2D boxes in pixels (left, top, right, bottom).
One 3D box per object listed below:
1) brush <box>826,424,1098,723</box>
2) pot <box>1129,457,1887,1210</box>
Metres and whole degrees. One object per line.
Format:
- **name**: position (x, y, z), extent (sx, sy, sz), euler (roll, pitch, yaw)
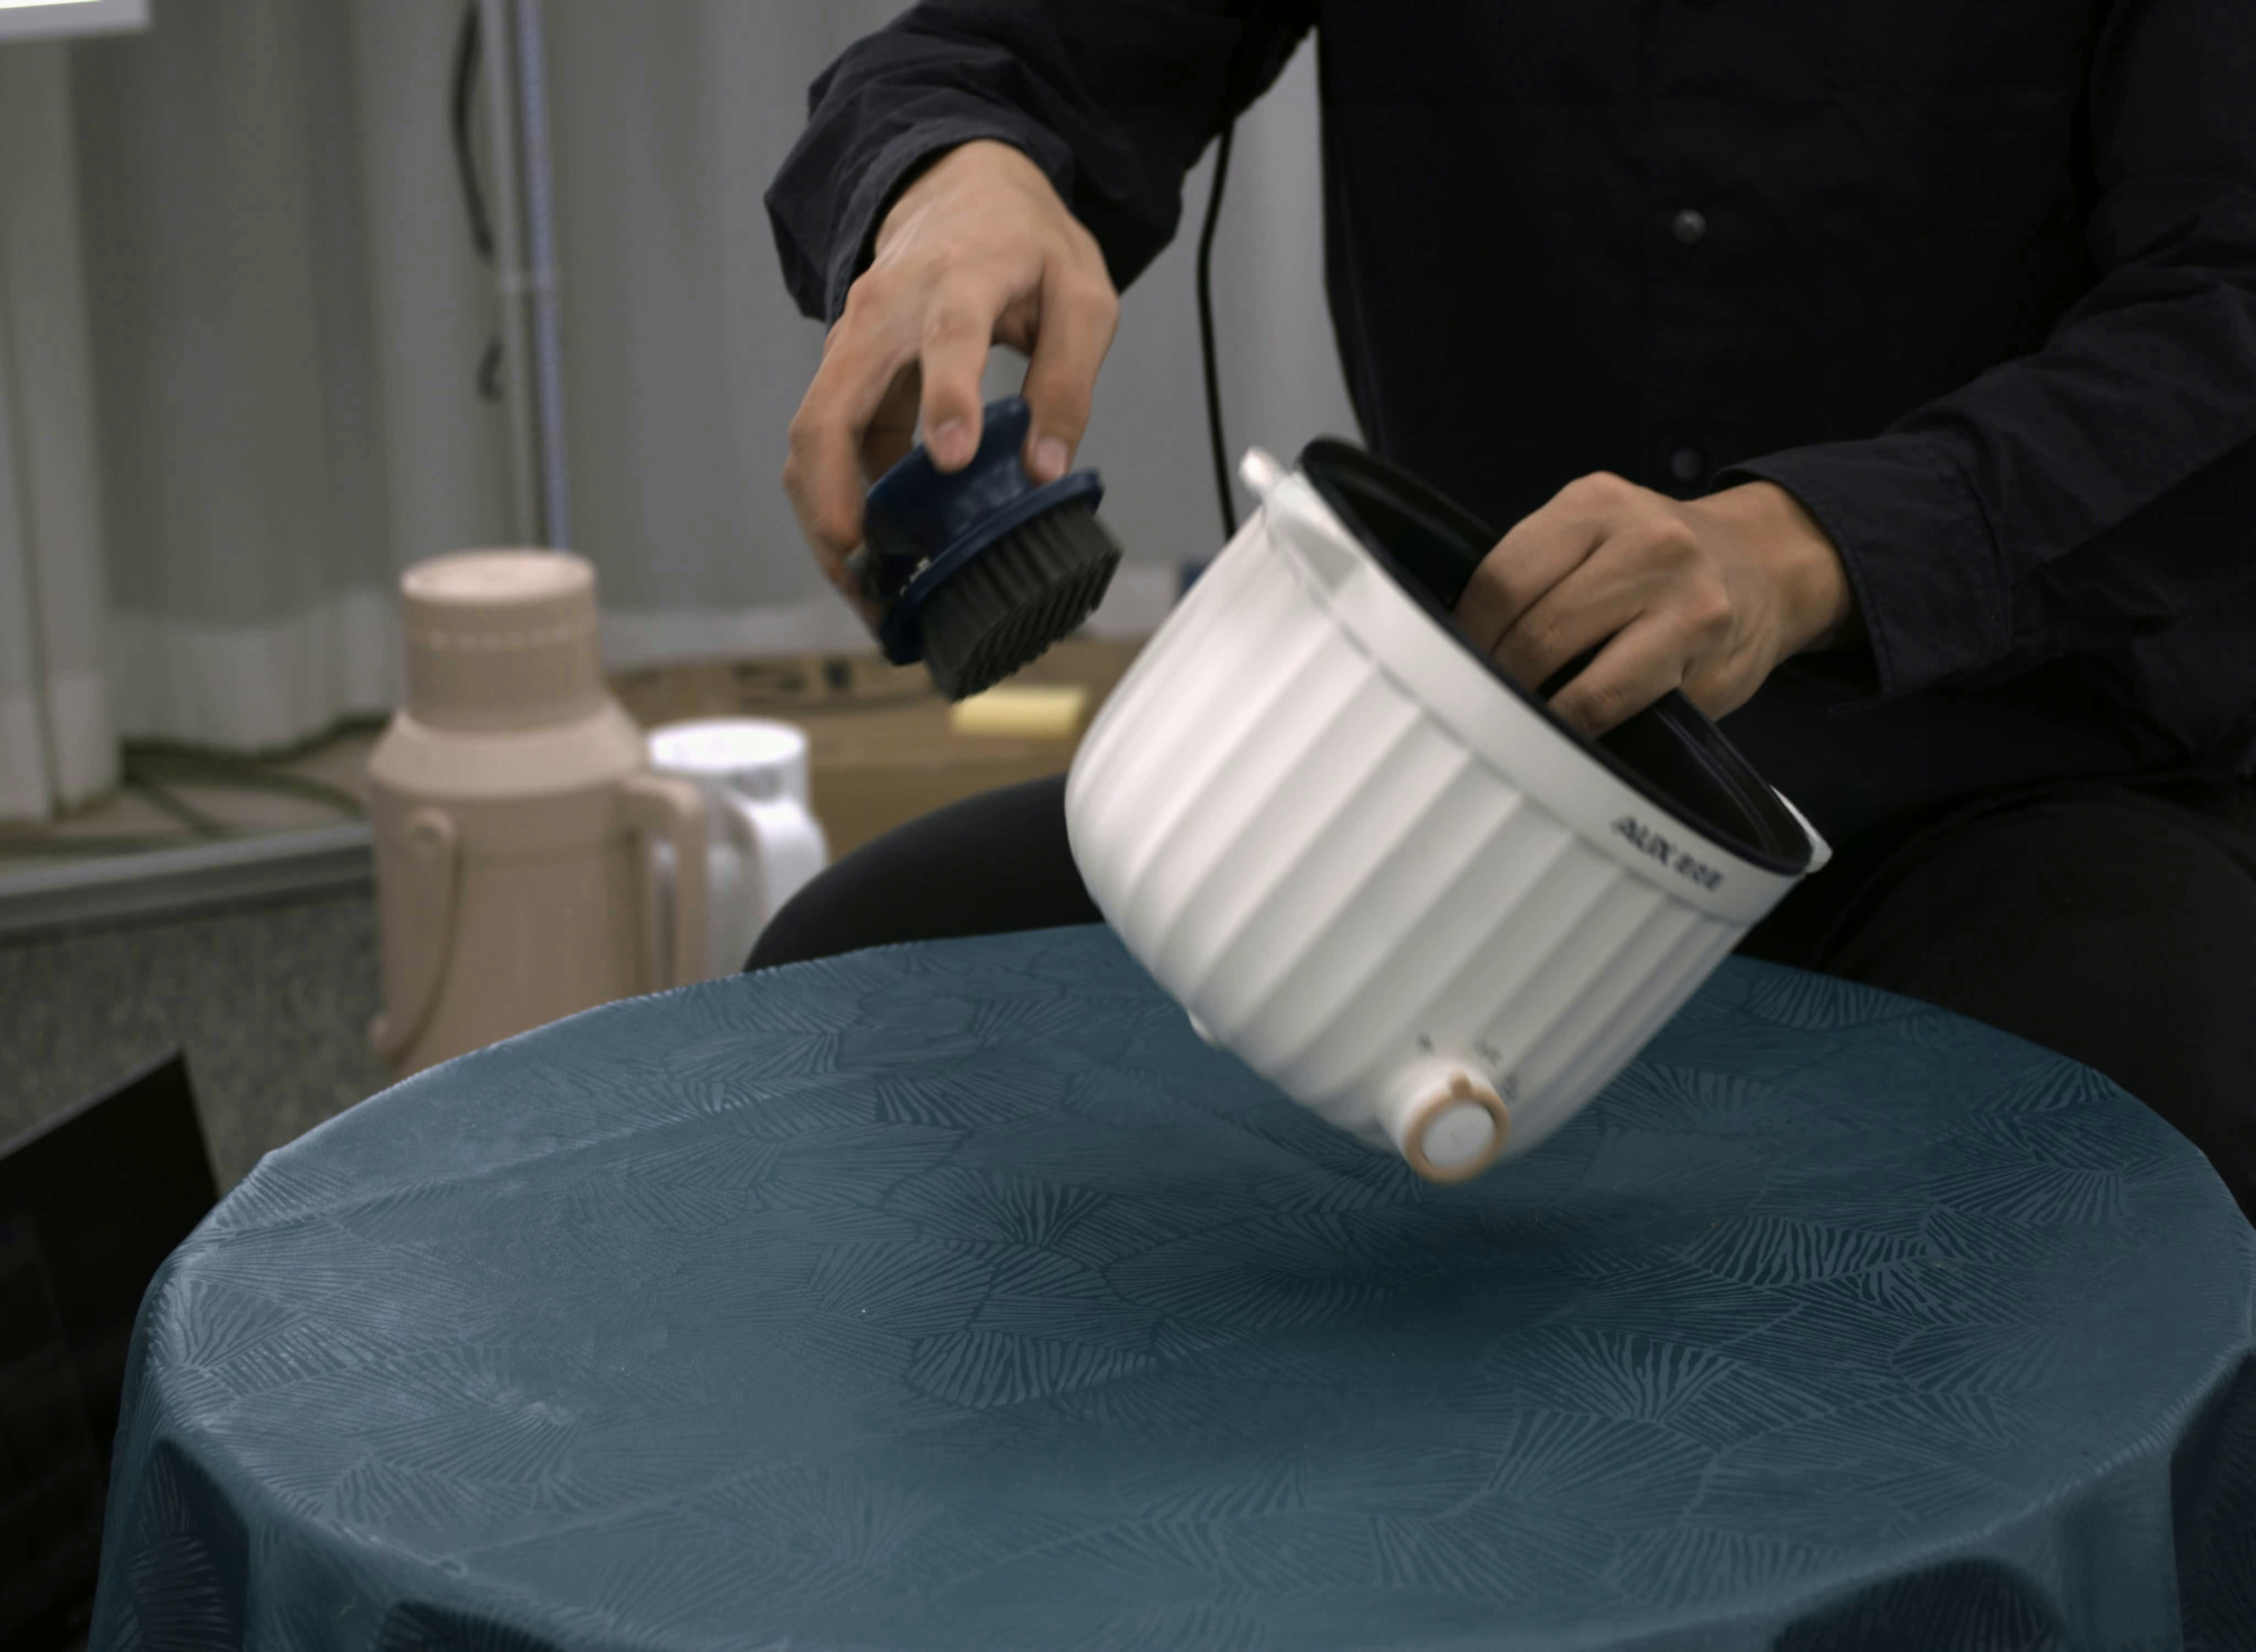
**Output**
- **brush**: position (-0.047, -0.070, 1.543), extent (0.067, 0.061, 0.121), euler (-34, -4, -9)
- **pot**: position (0.099, 0.010, 1.478), extent (0.234, 0.143, 0.194), euler (28, 15, -35)
